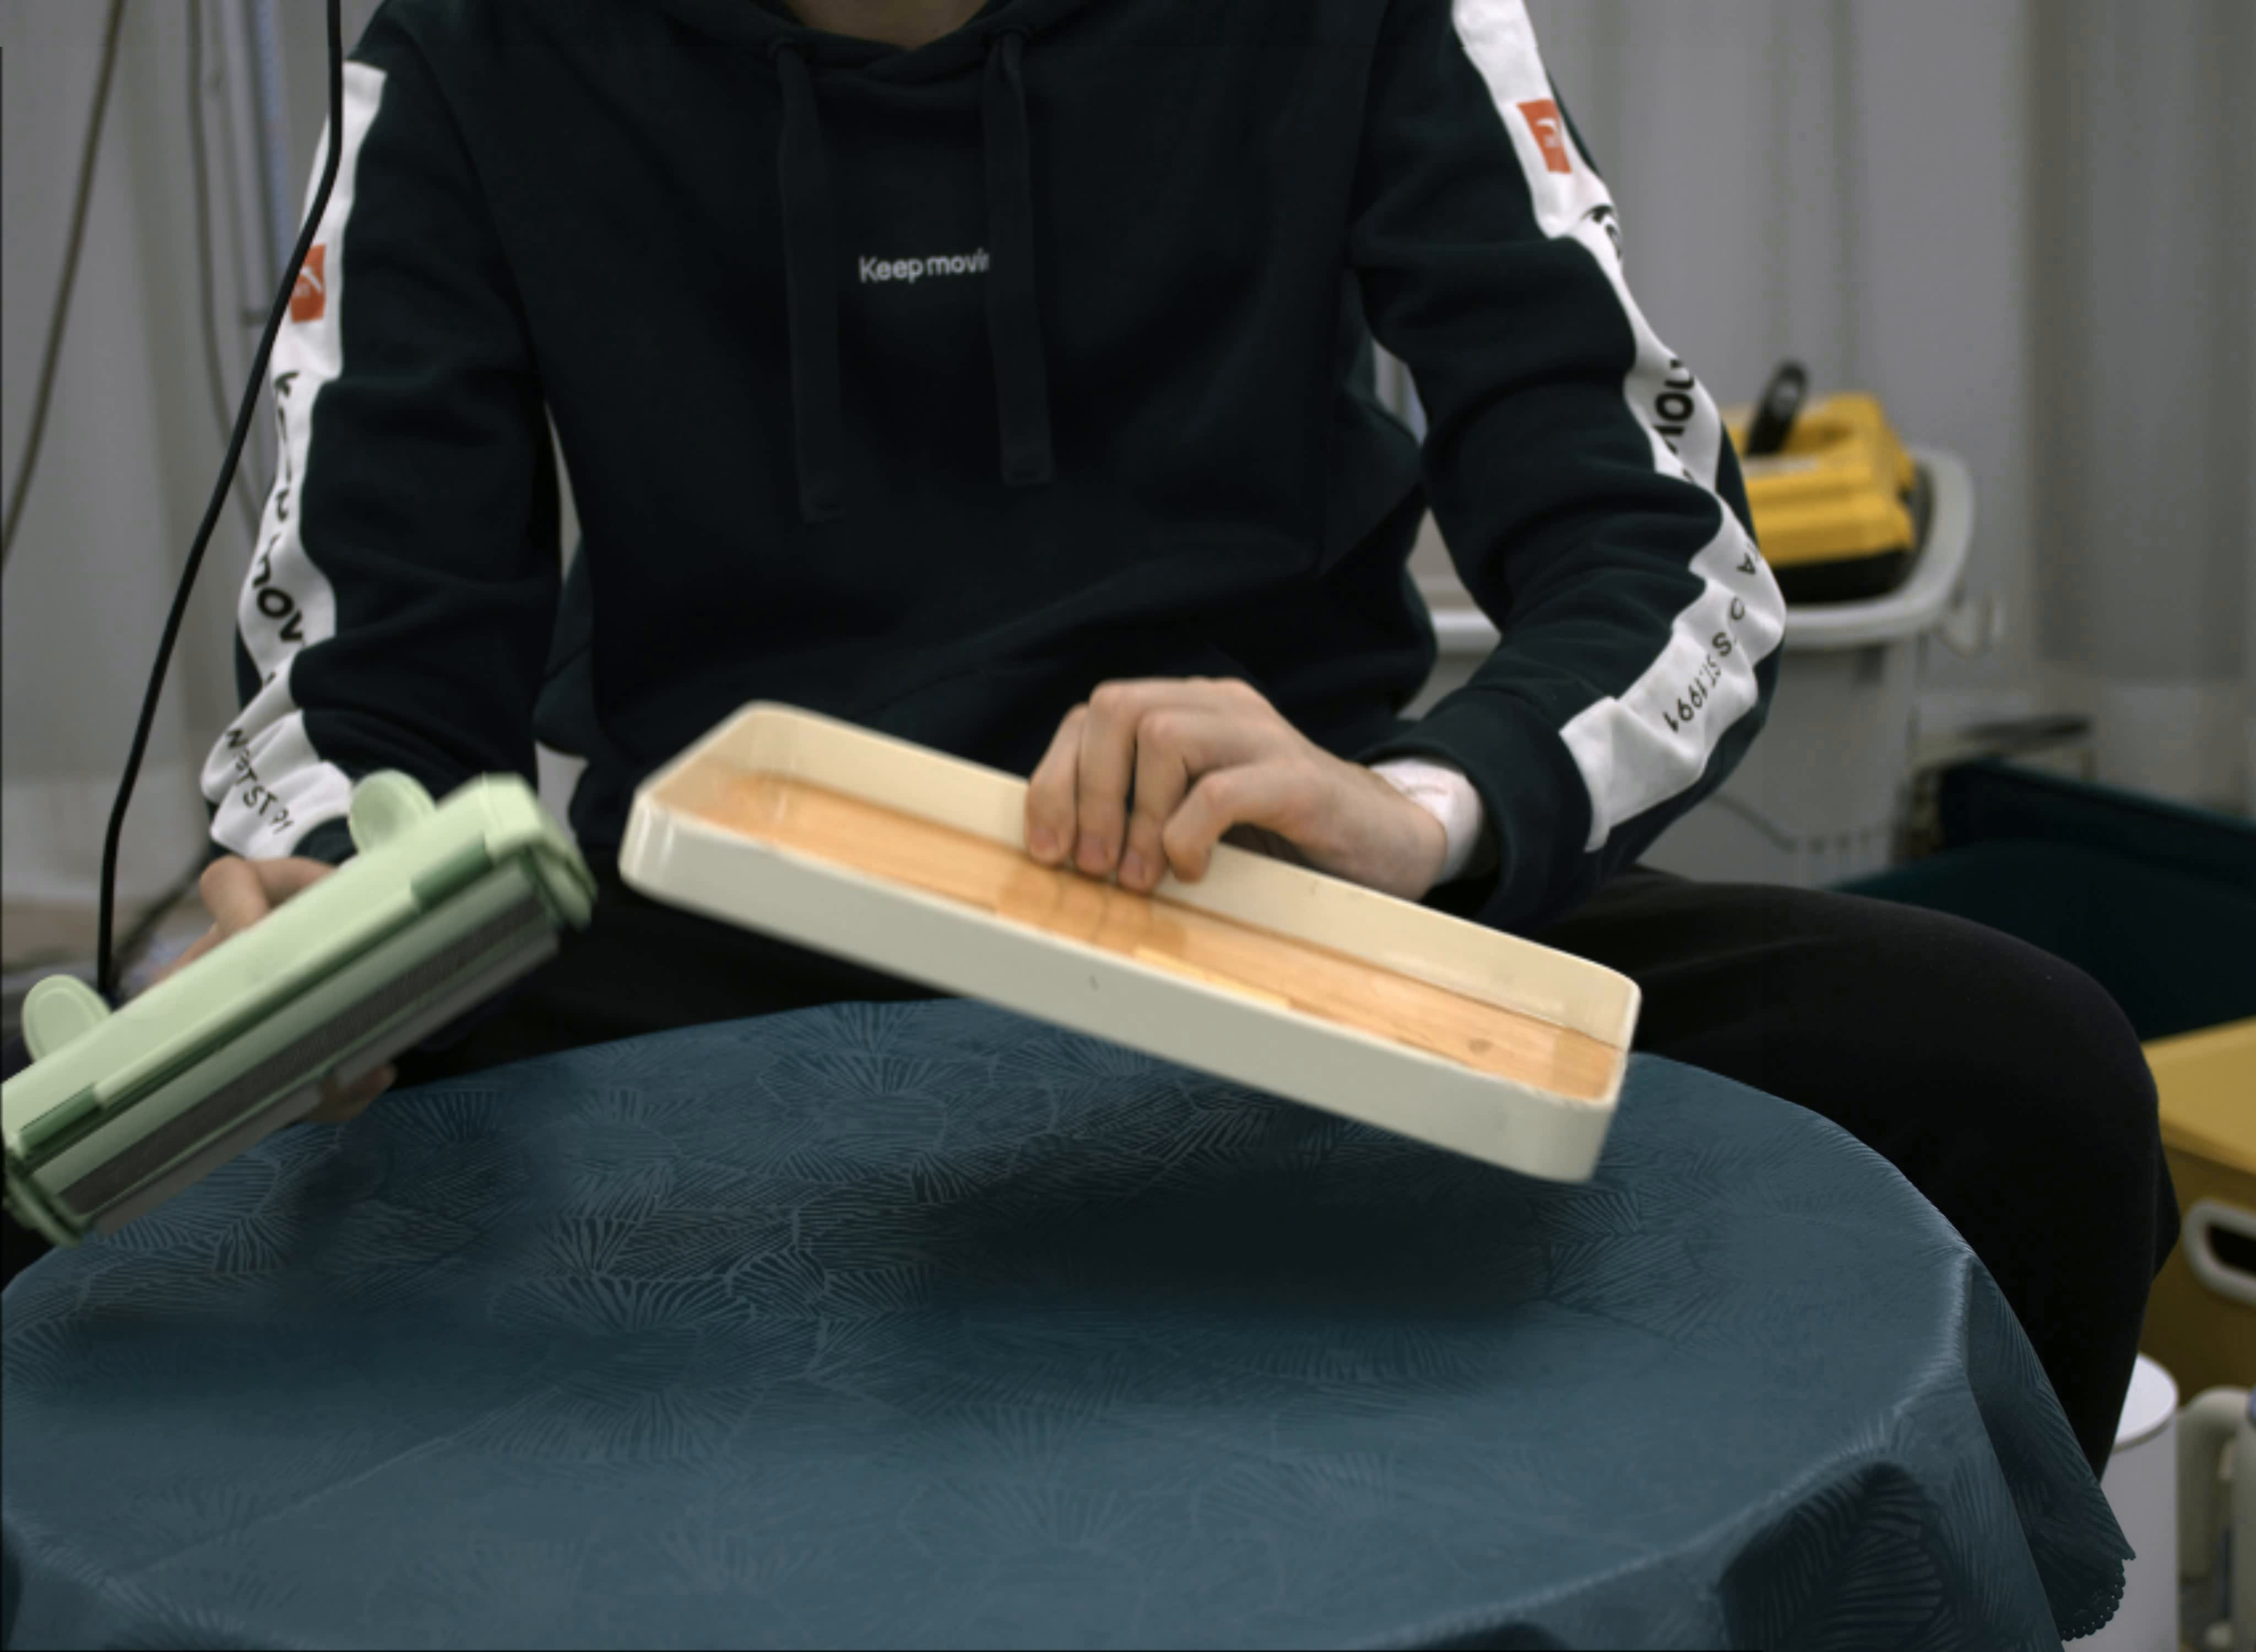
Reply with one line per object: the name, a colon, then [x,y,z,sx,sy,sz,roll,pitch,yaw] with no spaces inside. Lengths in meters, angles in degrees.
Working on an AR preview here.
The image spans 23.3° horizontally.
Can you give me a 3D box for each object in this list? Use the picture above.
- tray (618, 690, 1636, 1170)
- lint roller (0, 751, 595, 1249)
tray: [0.005,0.029,1.657,0.300,0.027,0.192,19,11,5]
lint roller: [-0.259,0.042,1.693,0.198,0.082,0.184,-35,7,-1]
